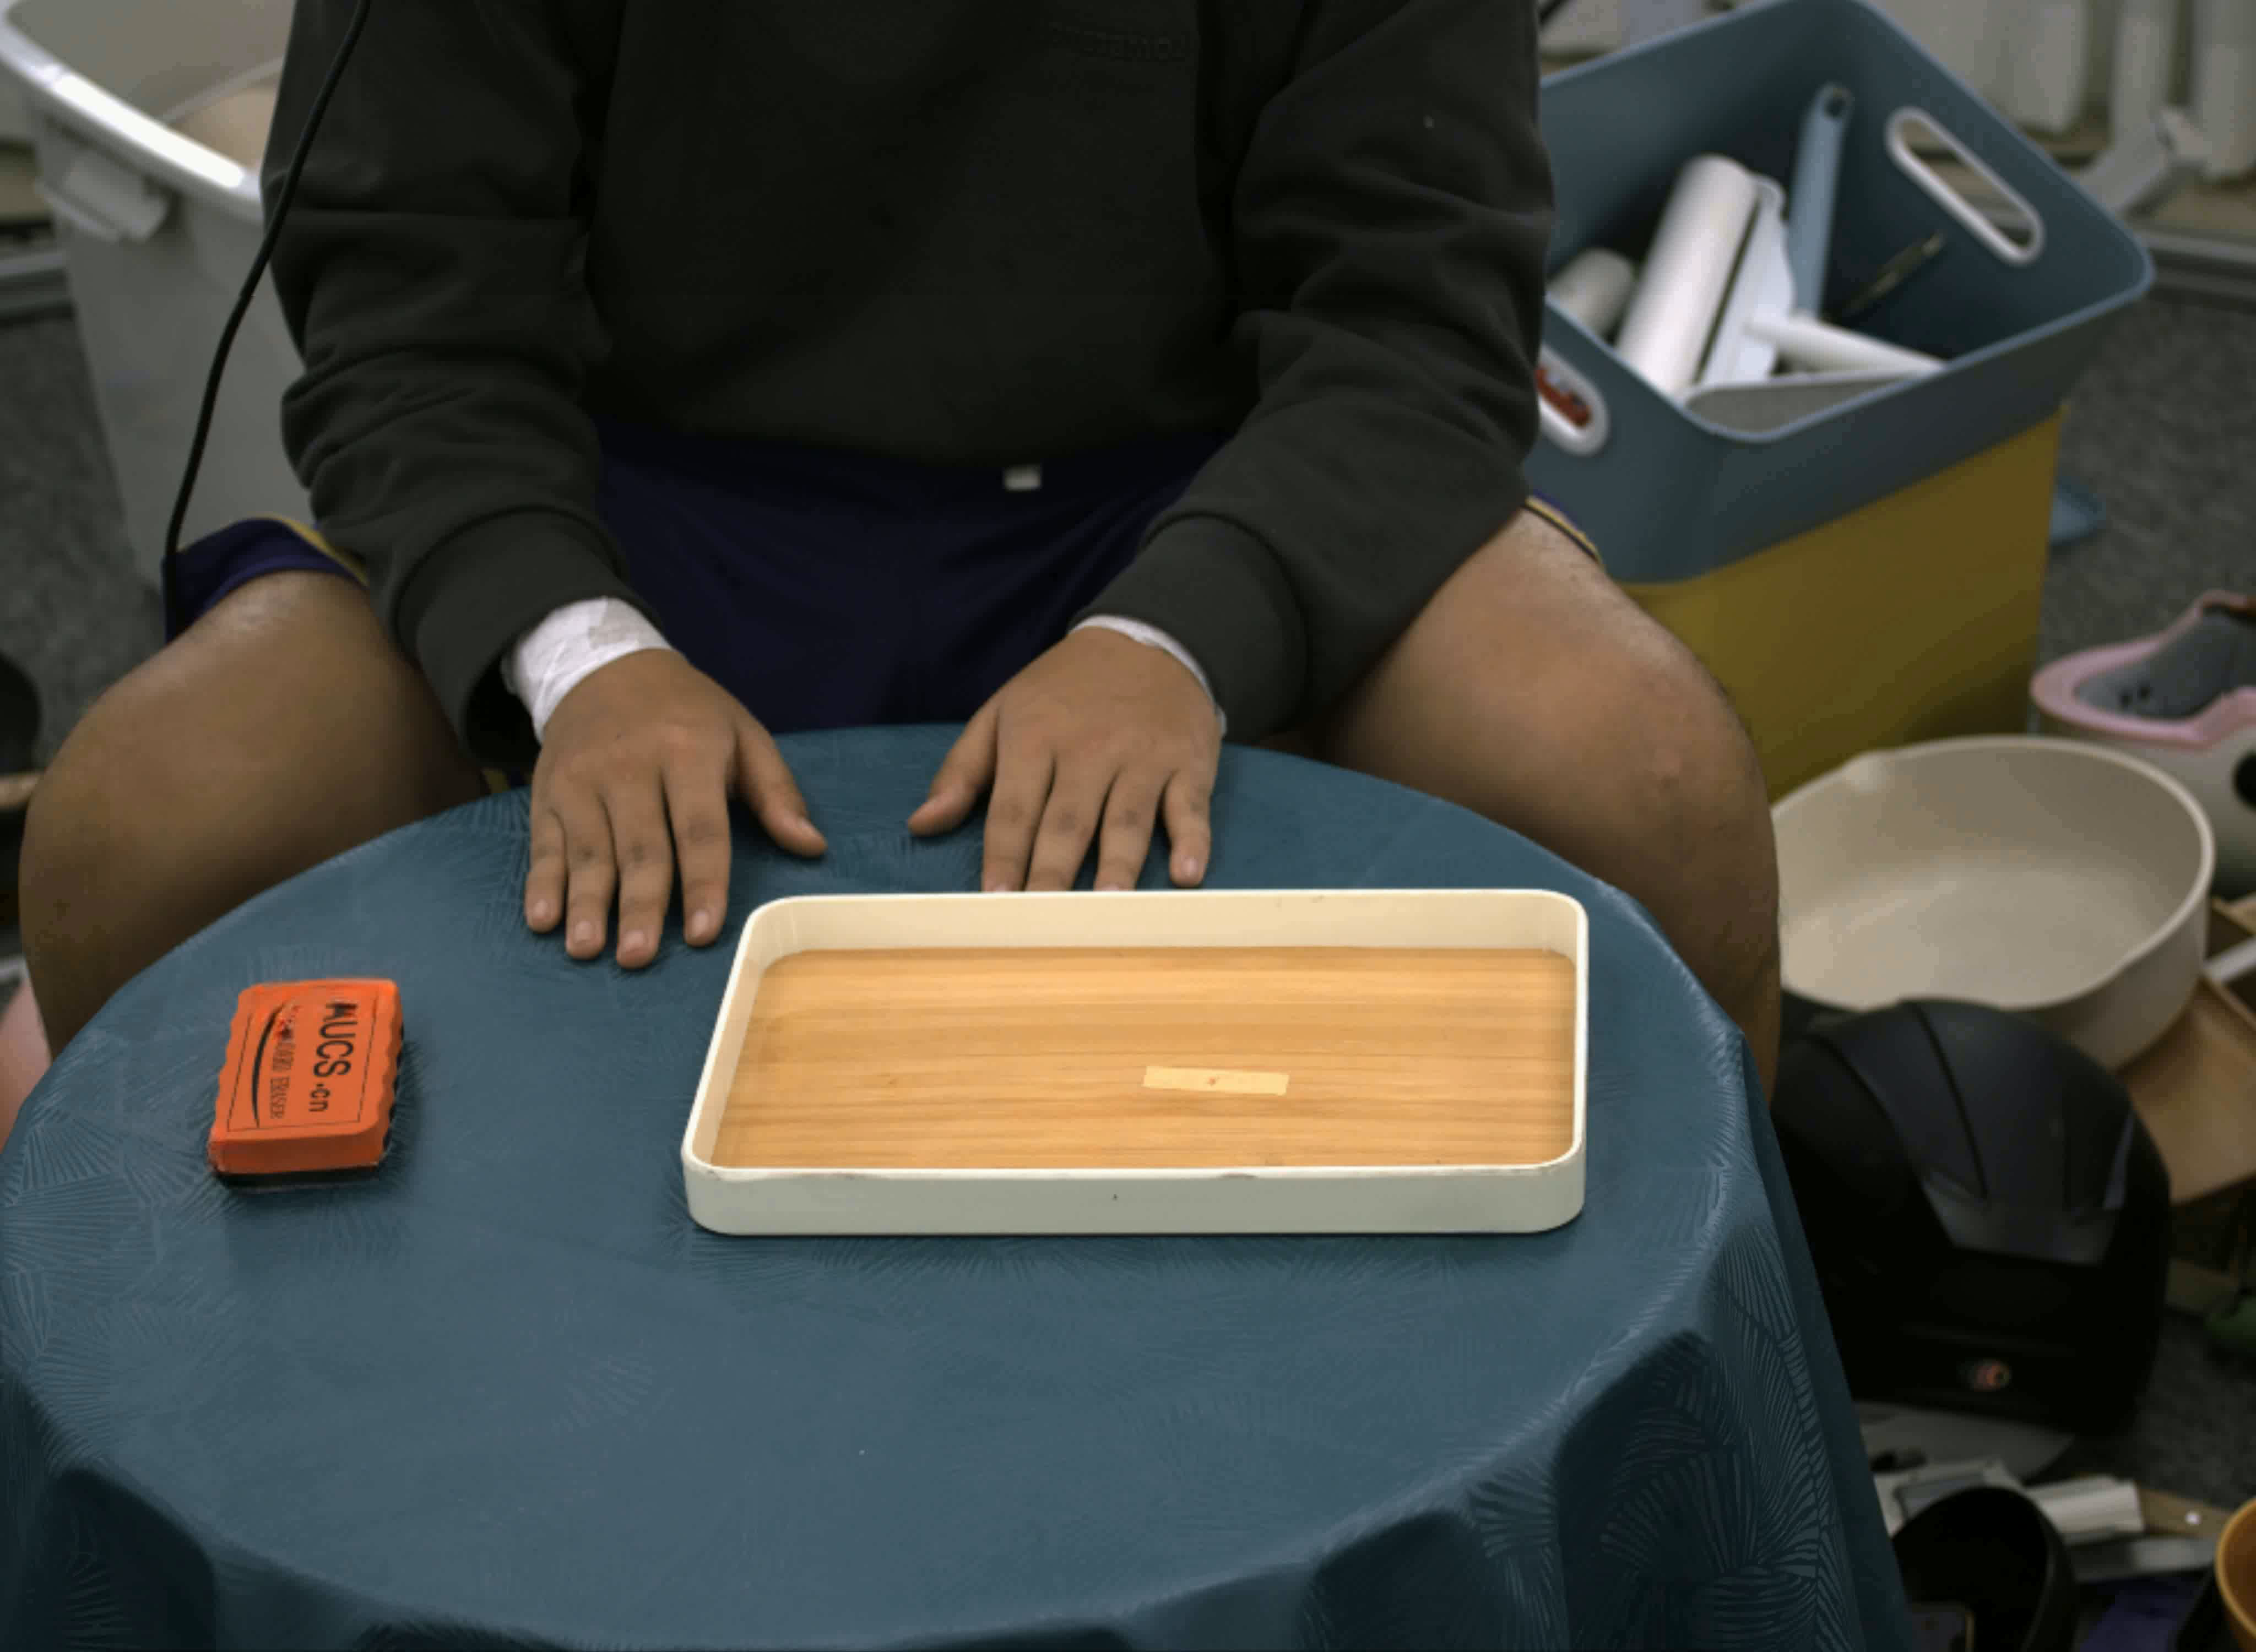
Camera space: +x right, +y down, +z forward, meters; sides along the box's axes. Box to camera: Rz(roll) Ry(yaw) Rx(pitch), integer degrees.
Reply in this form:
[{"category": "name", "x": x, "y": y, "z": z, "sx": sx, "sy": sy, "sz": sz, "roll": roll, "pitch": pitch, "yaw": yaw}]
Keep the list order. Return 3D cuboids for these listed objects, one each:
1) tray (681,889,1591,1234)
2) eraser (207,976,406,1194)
[{"category": "tray", "x": 0.007, "y": 0.079, "z": 1.914, "sx": 0.298, "sy": 0.027, "sz": 0.195, "roll": 0, "pitch": 28, "yaw": 5}, {"category": "eraser", "x": -0.281, "y": 0.089, "z": 1.927, "sx": 0.059, "sy": 0.022, "sz": 0.109, "roll": -5, "pitch": 27, "yaw": 0}]
